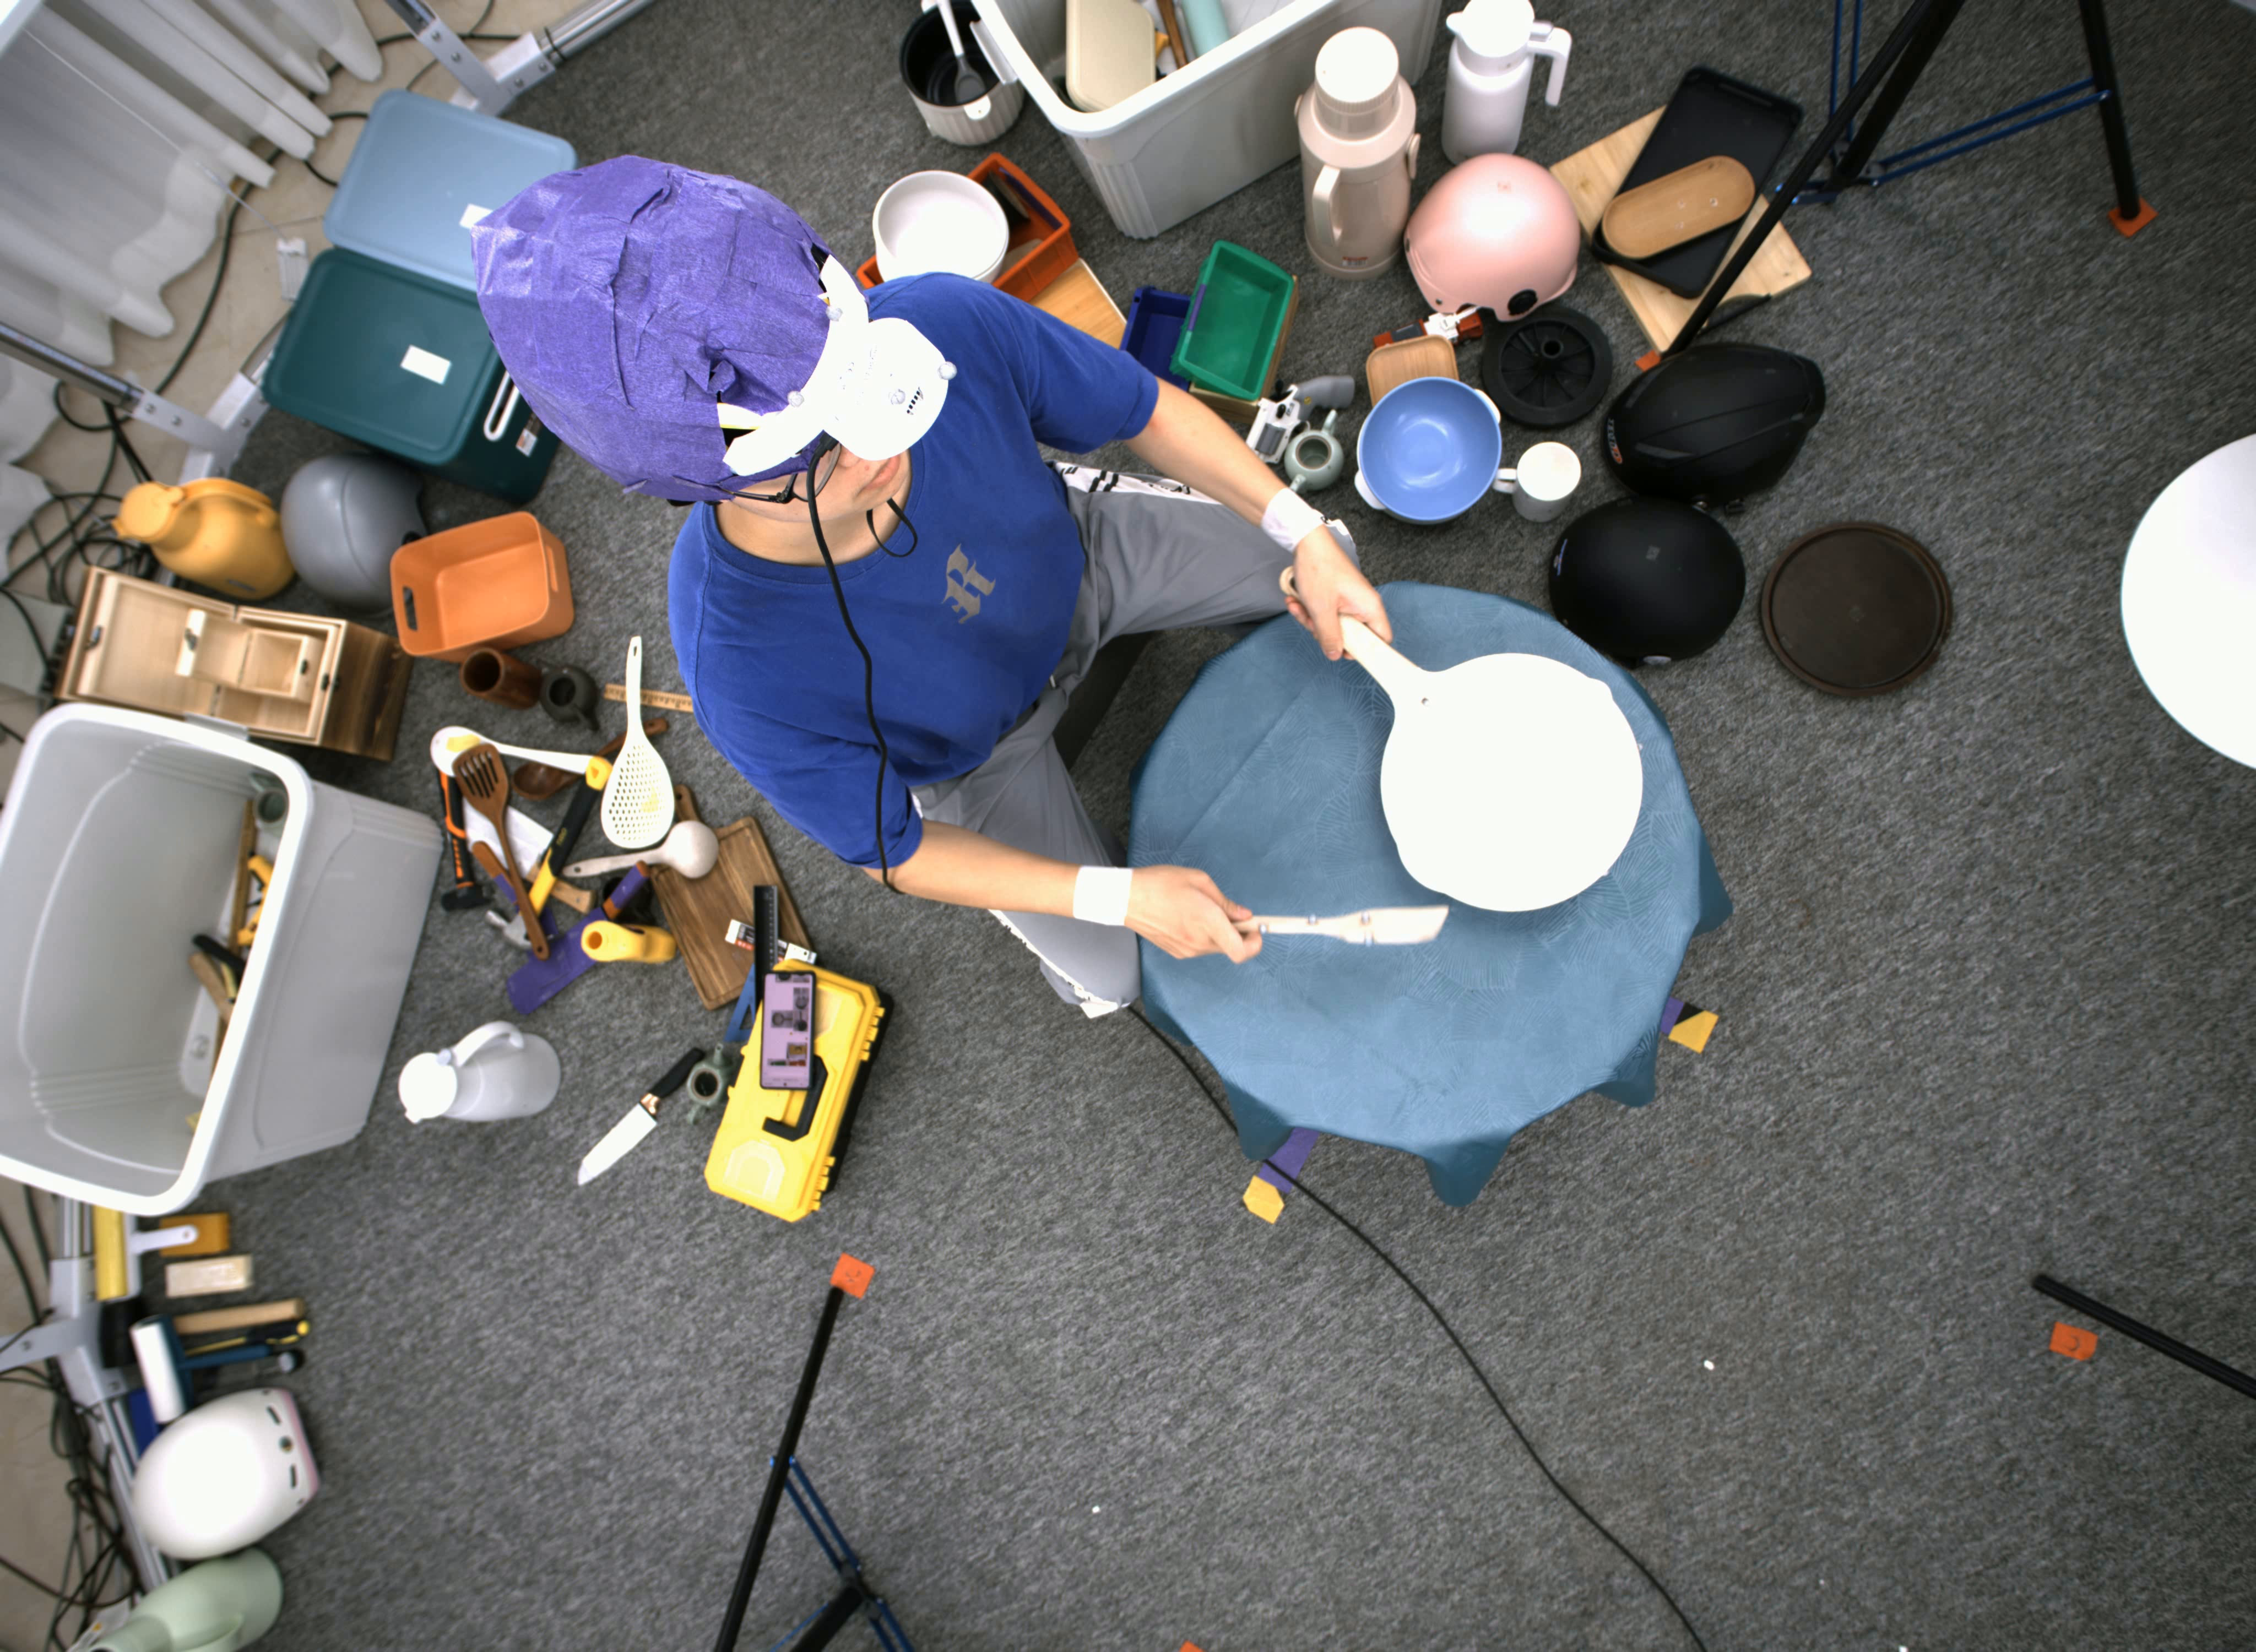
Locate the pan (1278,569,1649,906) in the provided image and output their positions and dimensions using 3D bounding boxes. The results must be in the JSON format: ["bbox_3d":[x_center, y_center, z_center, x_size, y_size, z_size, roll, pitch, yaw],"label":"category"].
[{"bbox_3d":[0.327,-0.115,1.385,0.432,0.101,0.268,46,114,14],"label":"pan"}]

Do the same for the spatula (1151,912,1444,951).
[{"bbox_3d":[0.159,0.099,1.356,0.295,0.070,0.011,1,112,24],"label":"spatula"}]
